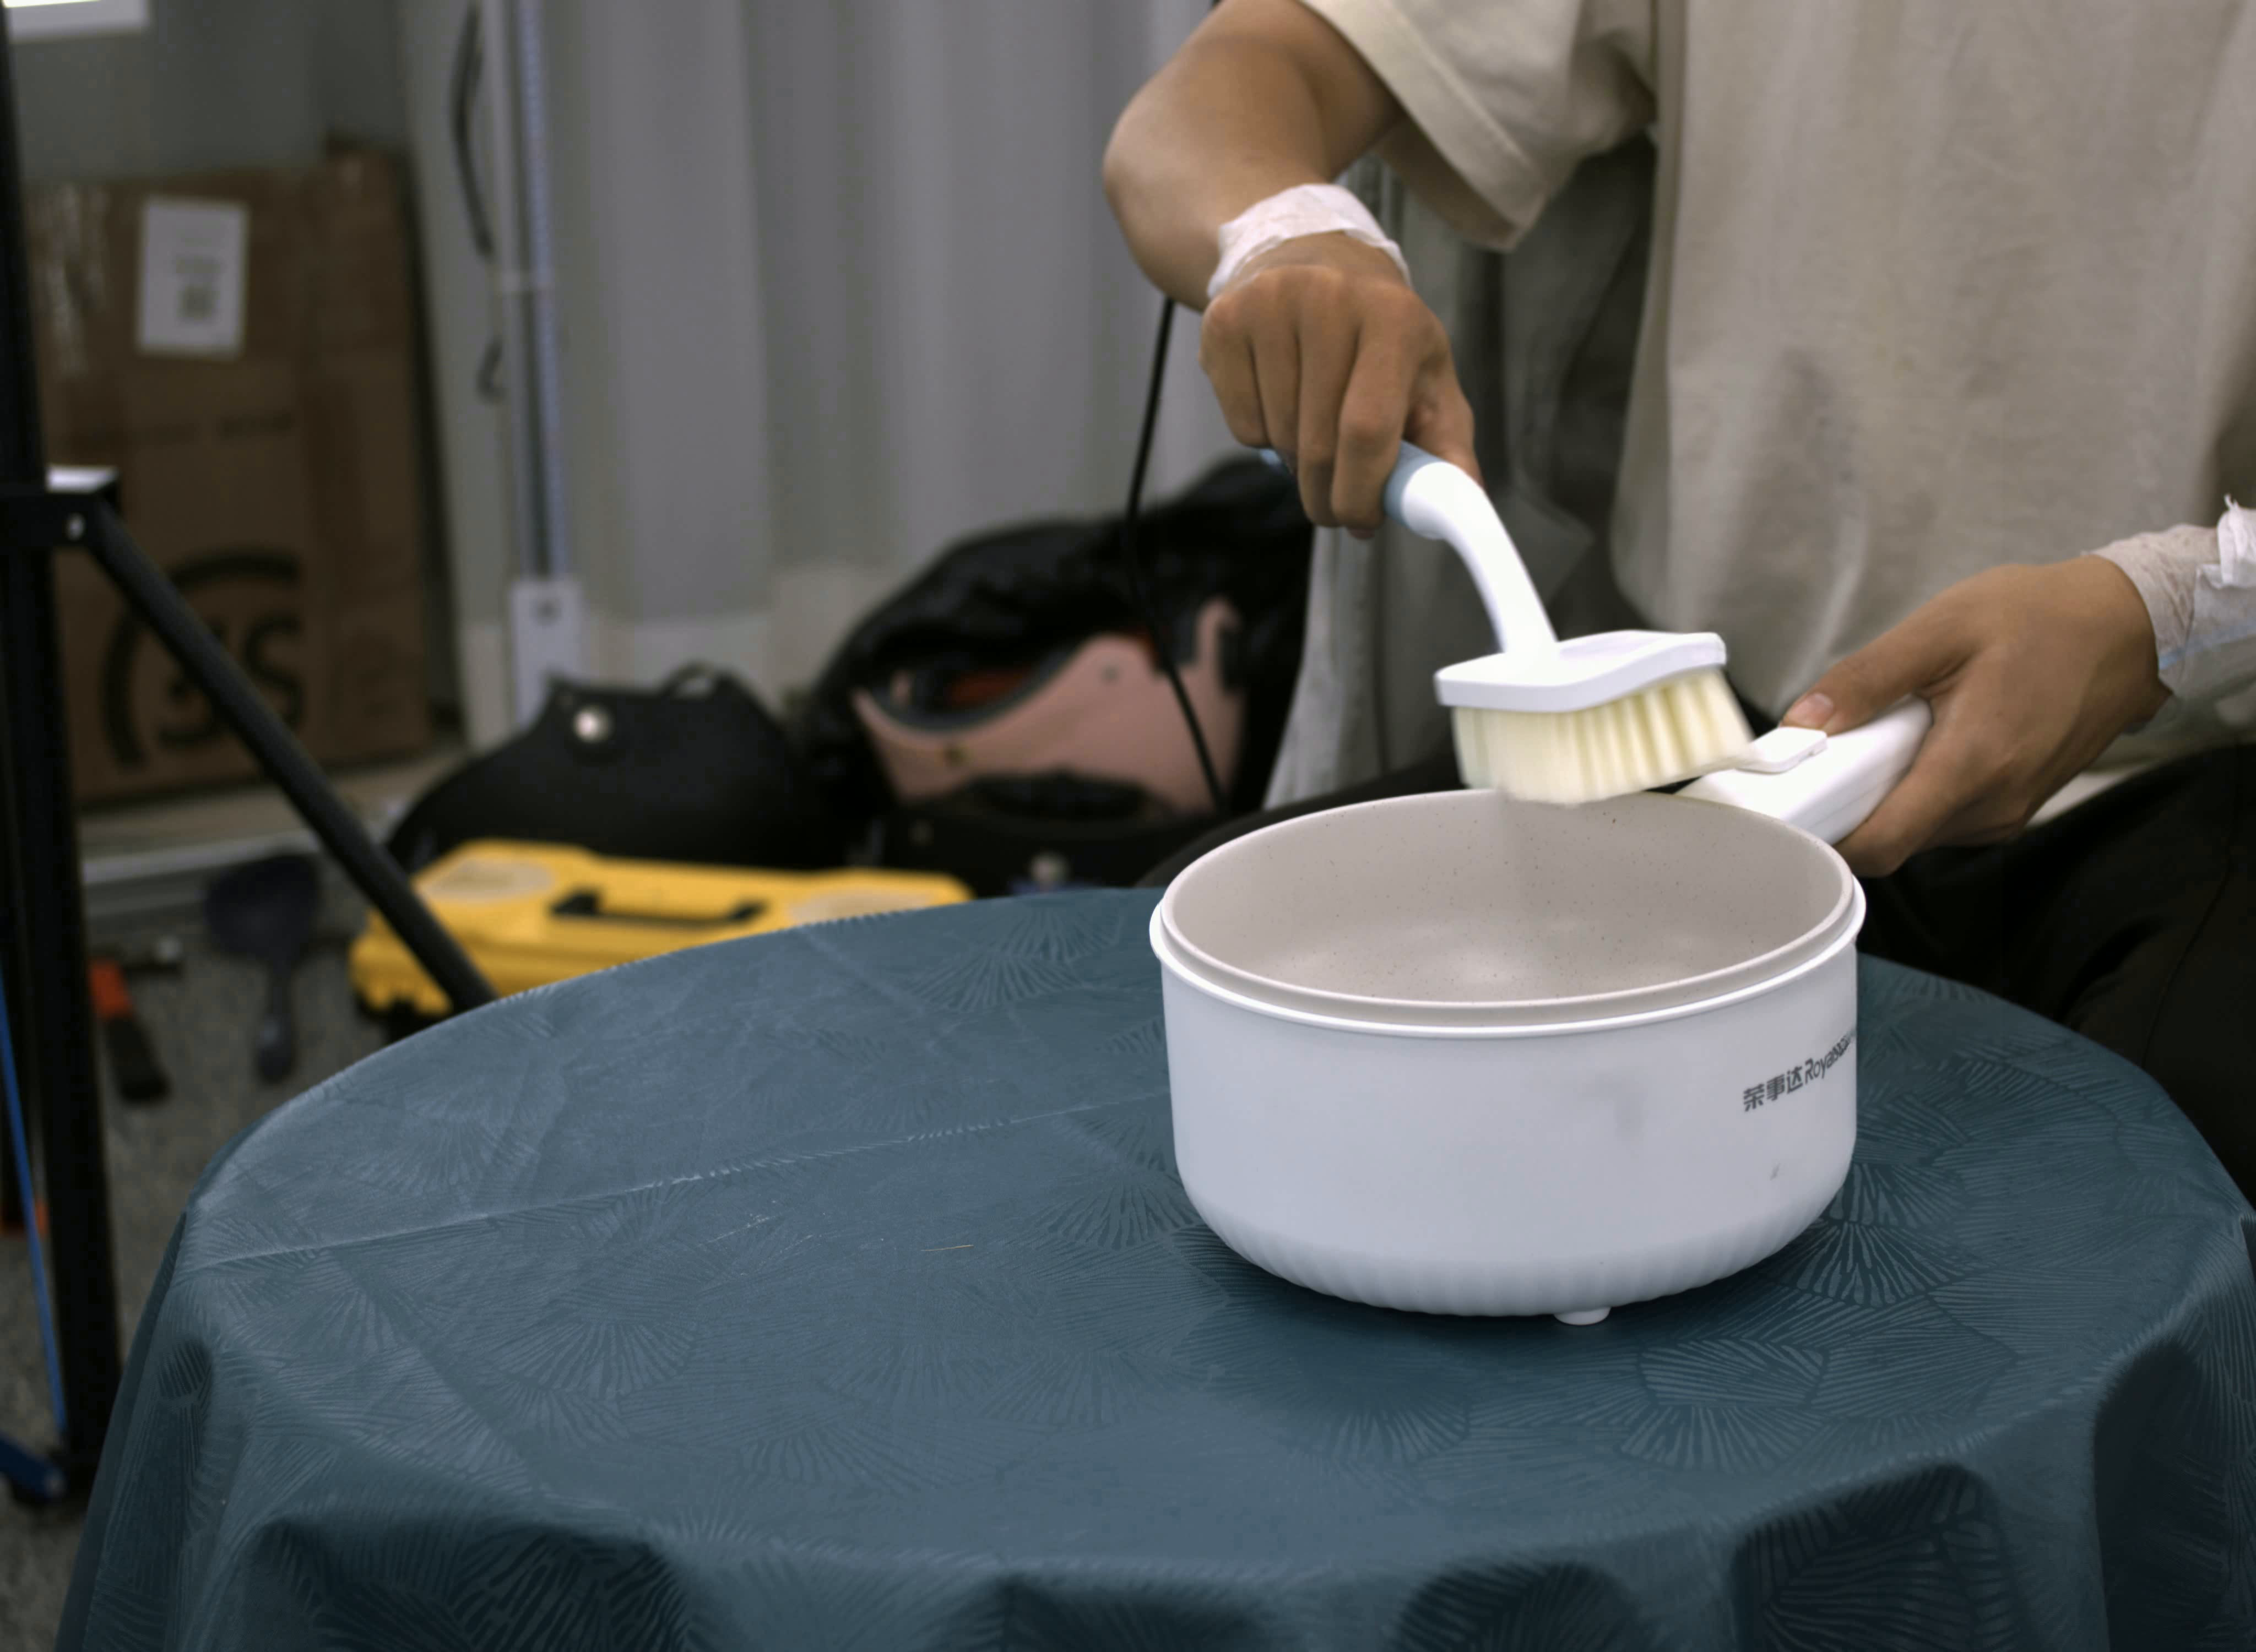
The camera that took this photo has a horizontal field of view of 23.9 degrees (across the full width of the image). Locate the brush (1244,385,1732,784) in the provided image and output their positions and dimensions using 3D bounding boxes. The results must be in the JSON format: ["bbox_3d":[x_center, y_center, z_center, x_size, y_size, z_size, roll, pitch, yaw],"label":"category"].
[{"bbox_3d":[0.108,-0.061,1.659,0.081,0.085,0.331,27,4,-24],"label":"brush"}]

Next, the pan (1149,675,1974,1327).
[{"bbox_3d":[0.151,0.046,1.554,0.205,0.102,0.348,8,20,35],"label":"pan"}]
